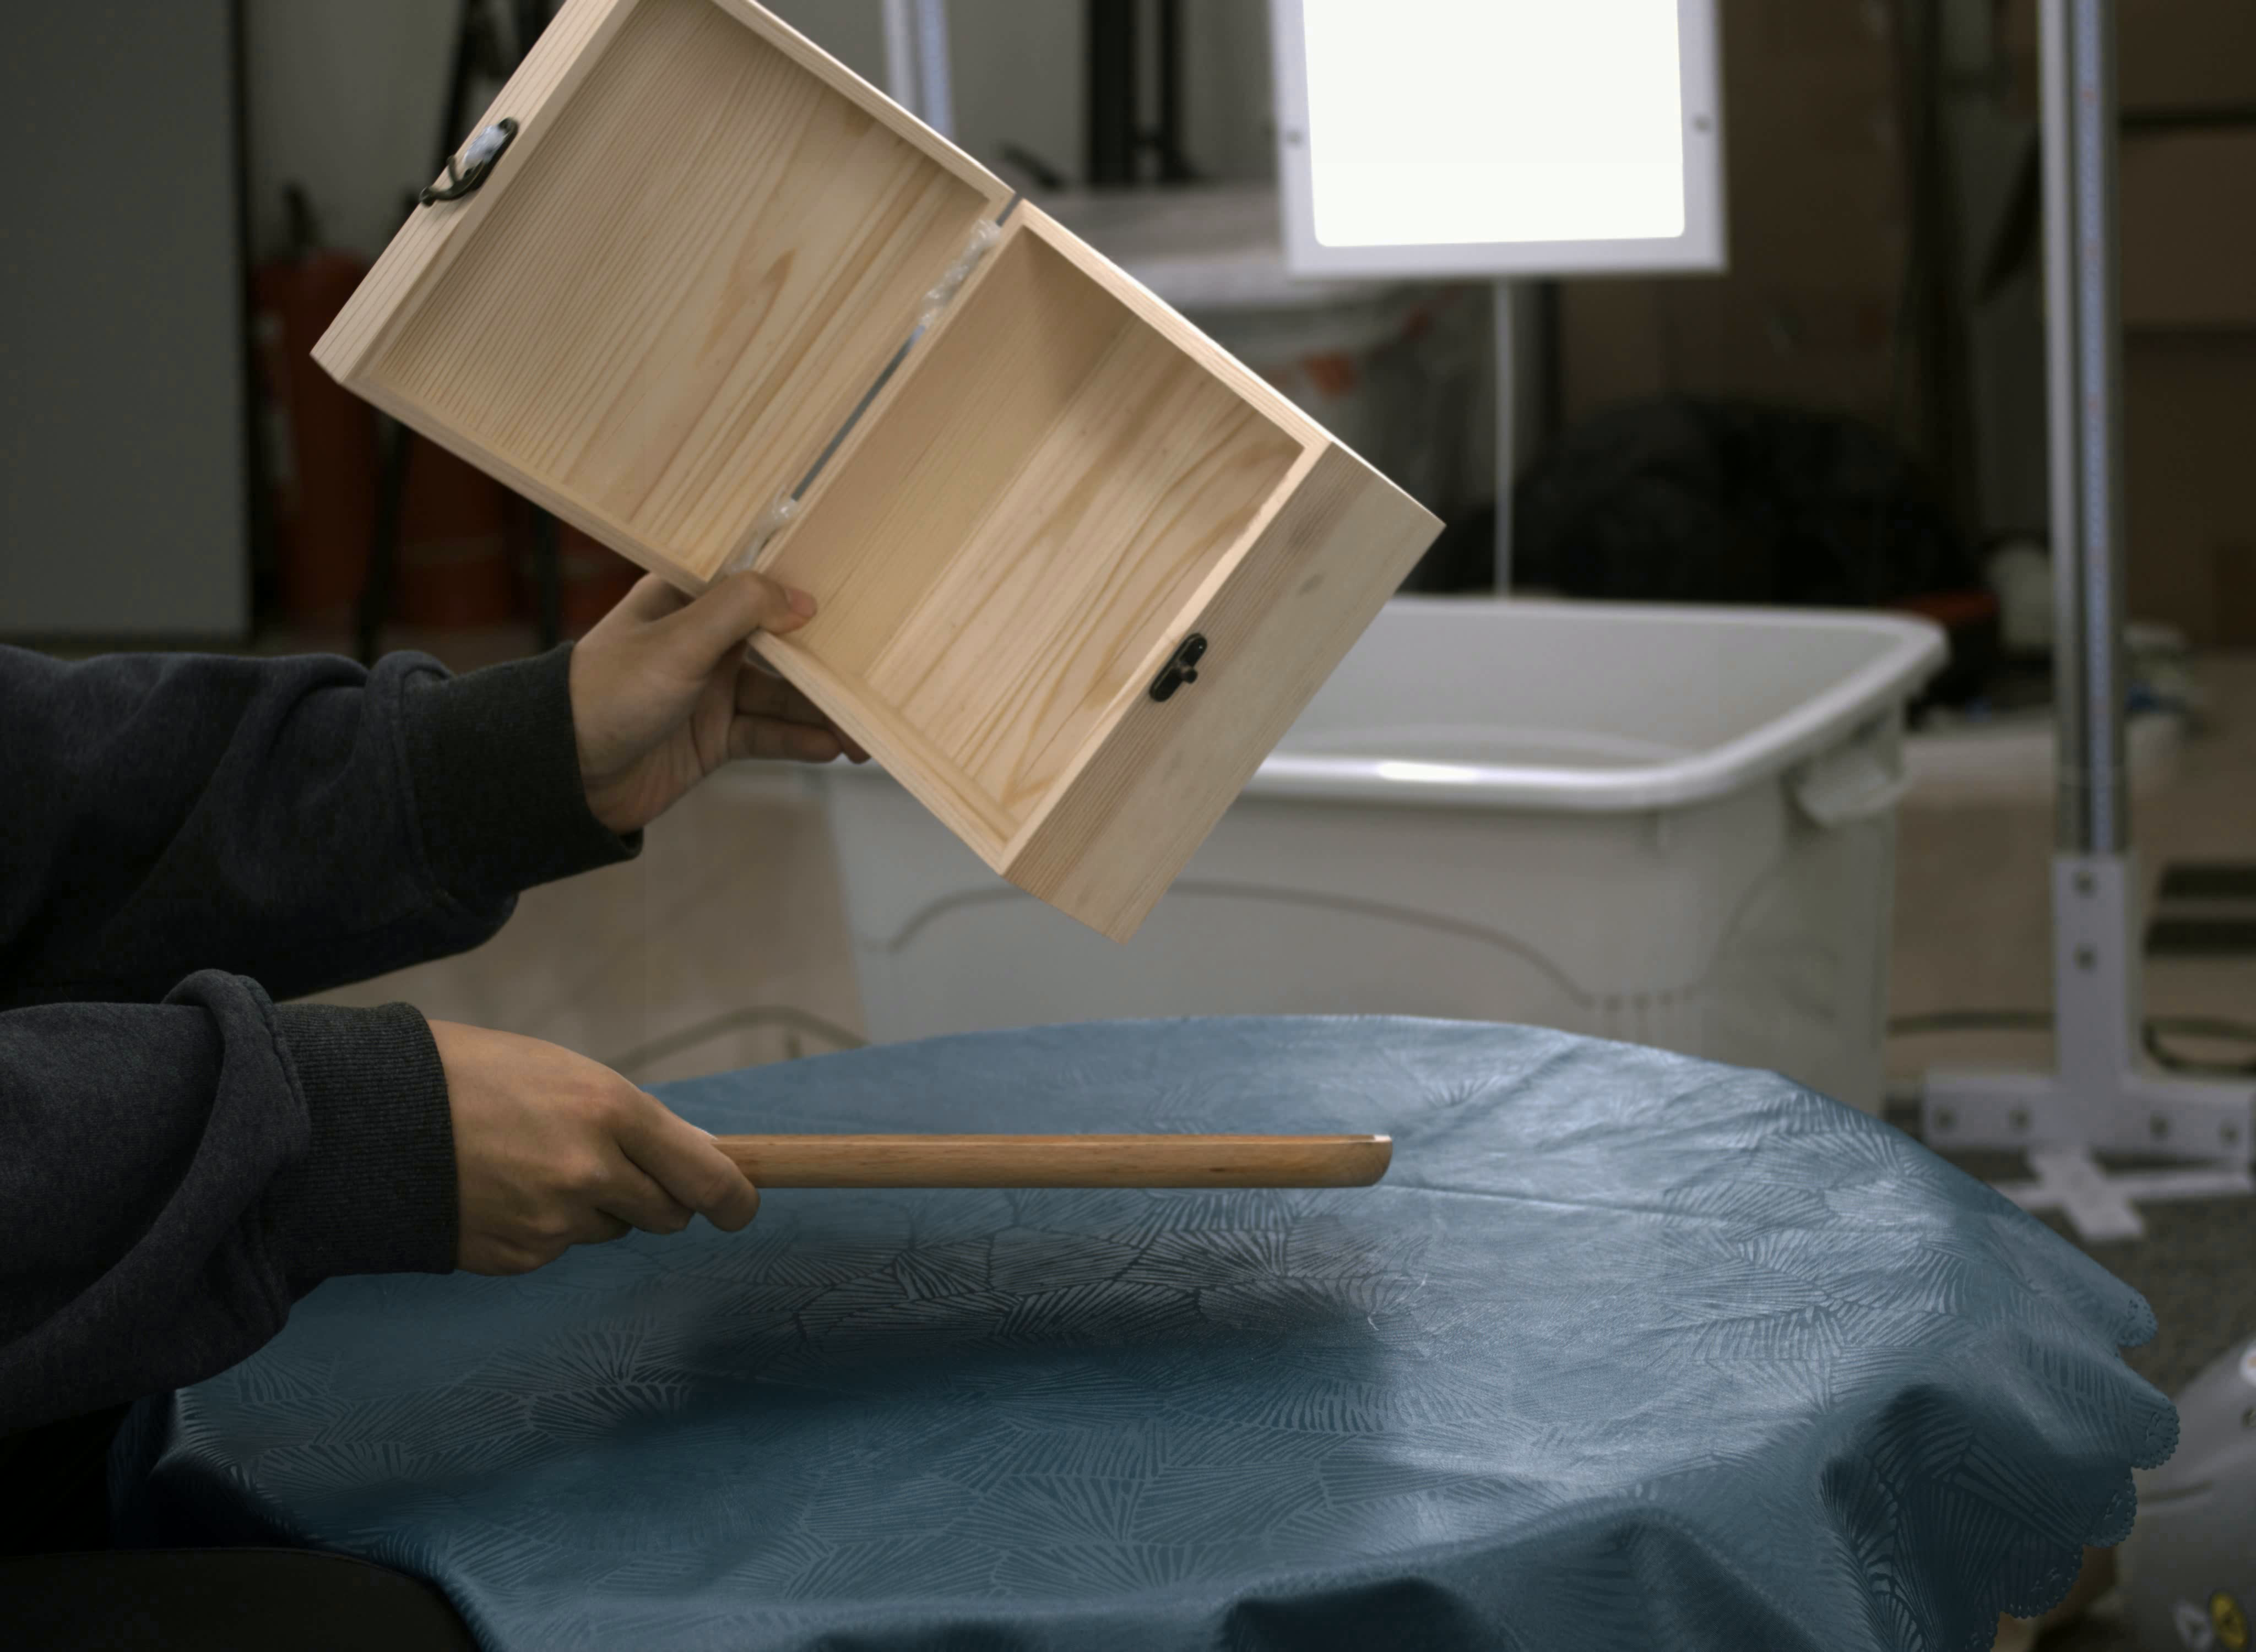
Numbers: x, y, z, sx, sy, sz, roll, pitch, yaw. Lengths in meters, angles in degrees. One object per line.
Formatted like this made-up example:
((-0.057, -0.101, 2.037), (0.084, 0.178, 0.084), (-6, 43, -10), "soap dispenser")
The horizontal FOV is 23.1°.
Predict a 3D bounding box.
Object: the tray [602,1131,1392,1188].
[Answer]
((-0.040, 0.107, 1.770), (0.251, 0.023, 0.130), (-1, -5, 5), "tray")

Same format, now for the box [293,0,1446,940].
((-0.086, -0.134, 1.842), (0.248, 0.183, 0.269), (28, 10, -47), "box")
